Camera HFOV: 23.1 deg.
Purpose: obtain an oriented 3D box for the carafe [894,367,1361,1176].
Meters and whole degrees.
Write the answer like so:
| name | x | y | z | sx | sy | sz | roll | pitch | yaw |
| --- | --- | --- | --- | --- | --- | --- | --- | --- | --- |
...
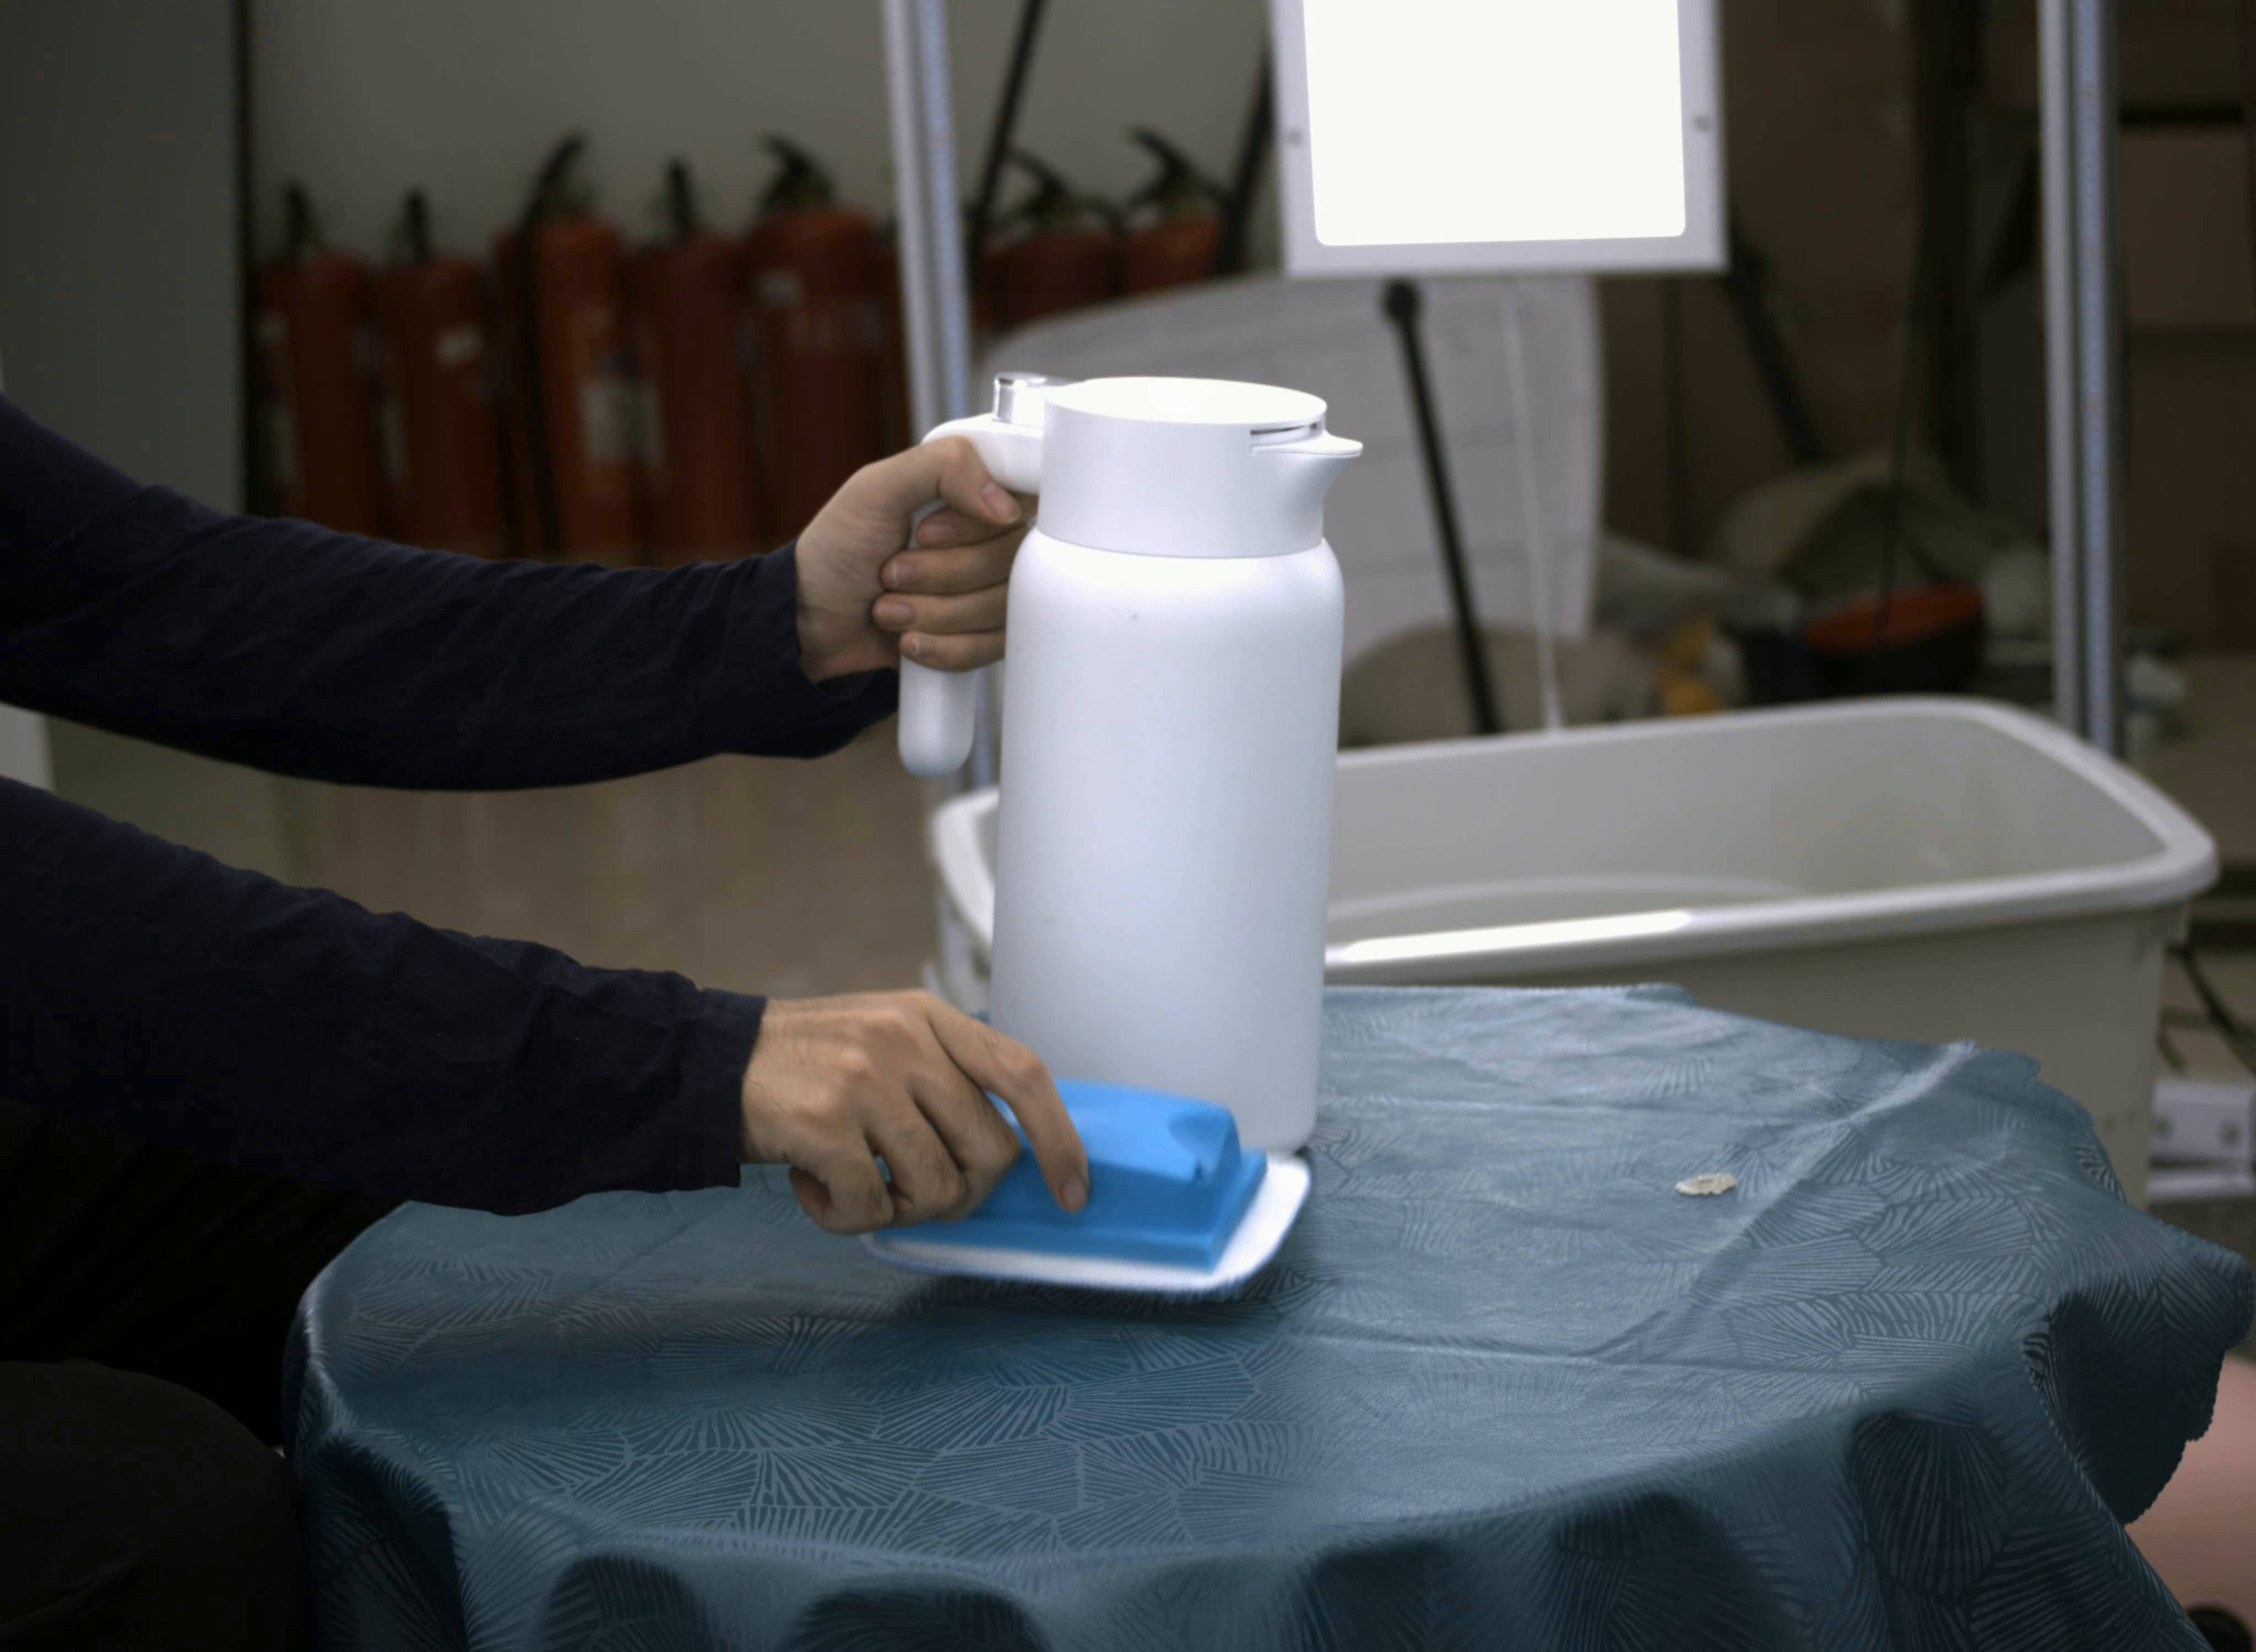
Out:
| name | x | y | z | sx | sy | sz | roll | pitch | yaw |
| --- | --- | --- | --- | --- | --- | --- | --- | --- | --- |
| carafe | -0.002 | -0.020 | 1.914 | 0.176 | 0.270 | 0.121 | 8 | 17 | 28 |

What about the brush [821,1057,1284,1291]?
| name | x | y | z | sx | sy | sz | roll | pitch | yaw |
| --- | --- | --- | --- | --- | --- | --- | --- | --- | --- |
| brush | -0.025 | 0.111 | 1.789 | 0.146 | 0.056 | 0.082 | 8 | 27 | 24 |
